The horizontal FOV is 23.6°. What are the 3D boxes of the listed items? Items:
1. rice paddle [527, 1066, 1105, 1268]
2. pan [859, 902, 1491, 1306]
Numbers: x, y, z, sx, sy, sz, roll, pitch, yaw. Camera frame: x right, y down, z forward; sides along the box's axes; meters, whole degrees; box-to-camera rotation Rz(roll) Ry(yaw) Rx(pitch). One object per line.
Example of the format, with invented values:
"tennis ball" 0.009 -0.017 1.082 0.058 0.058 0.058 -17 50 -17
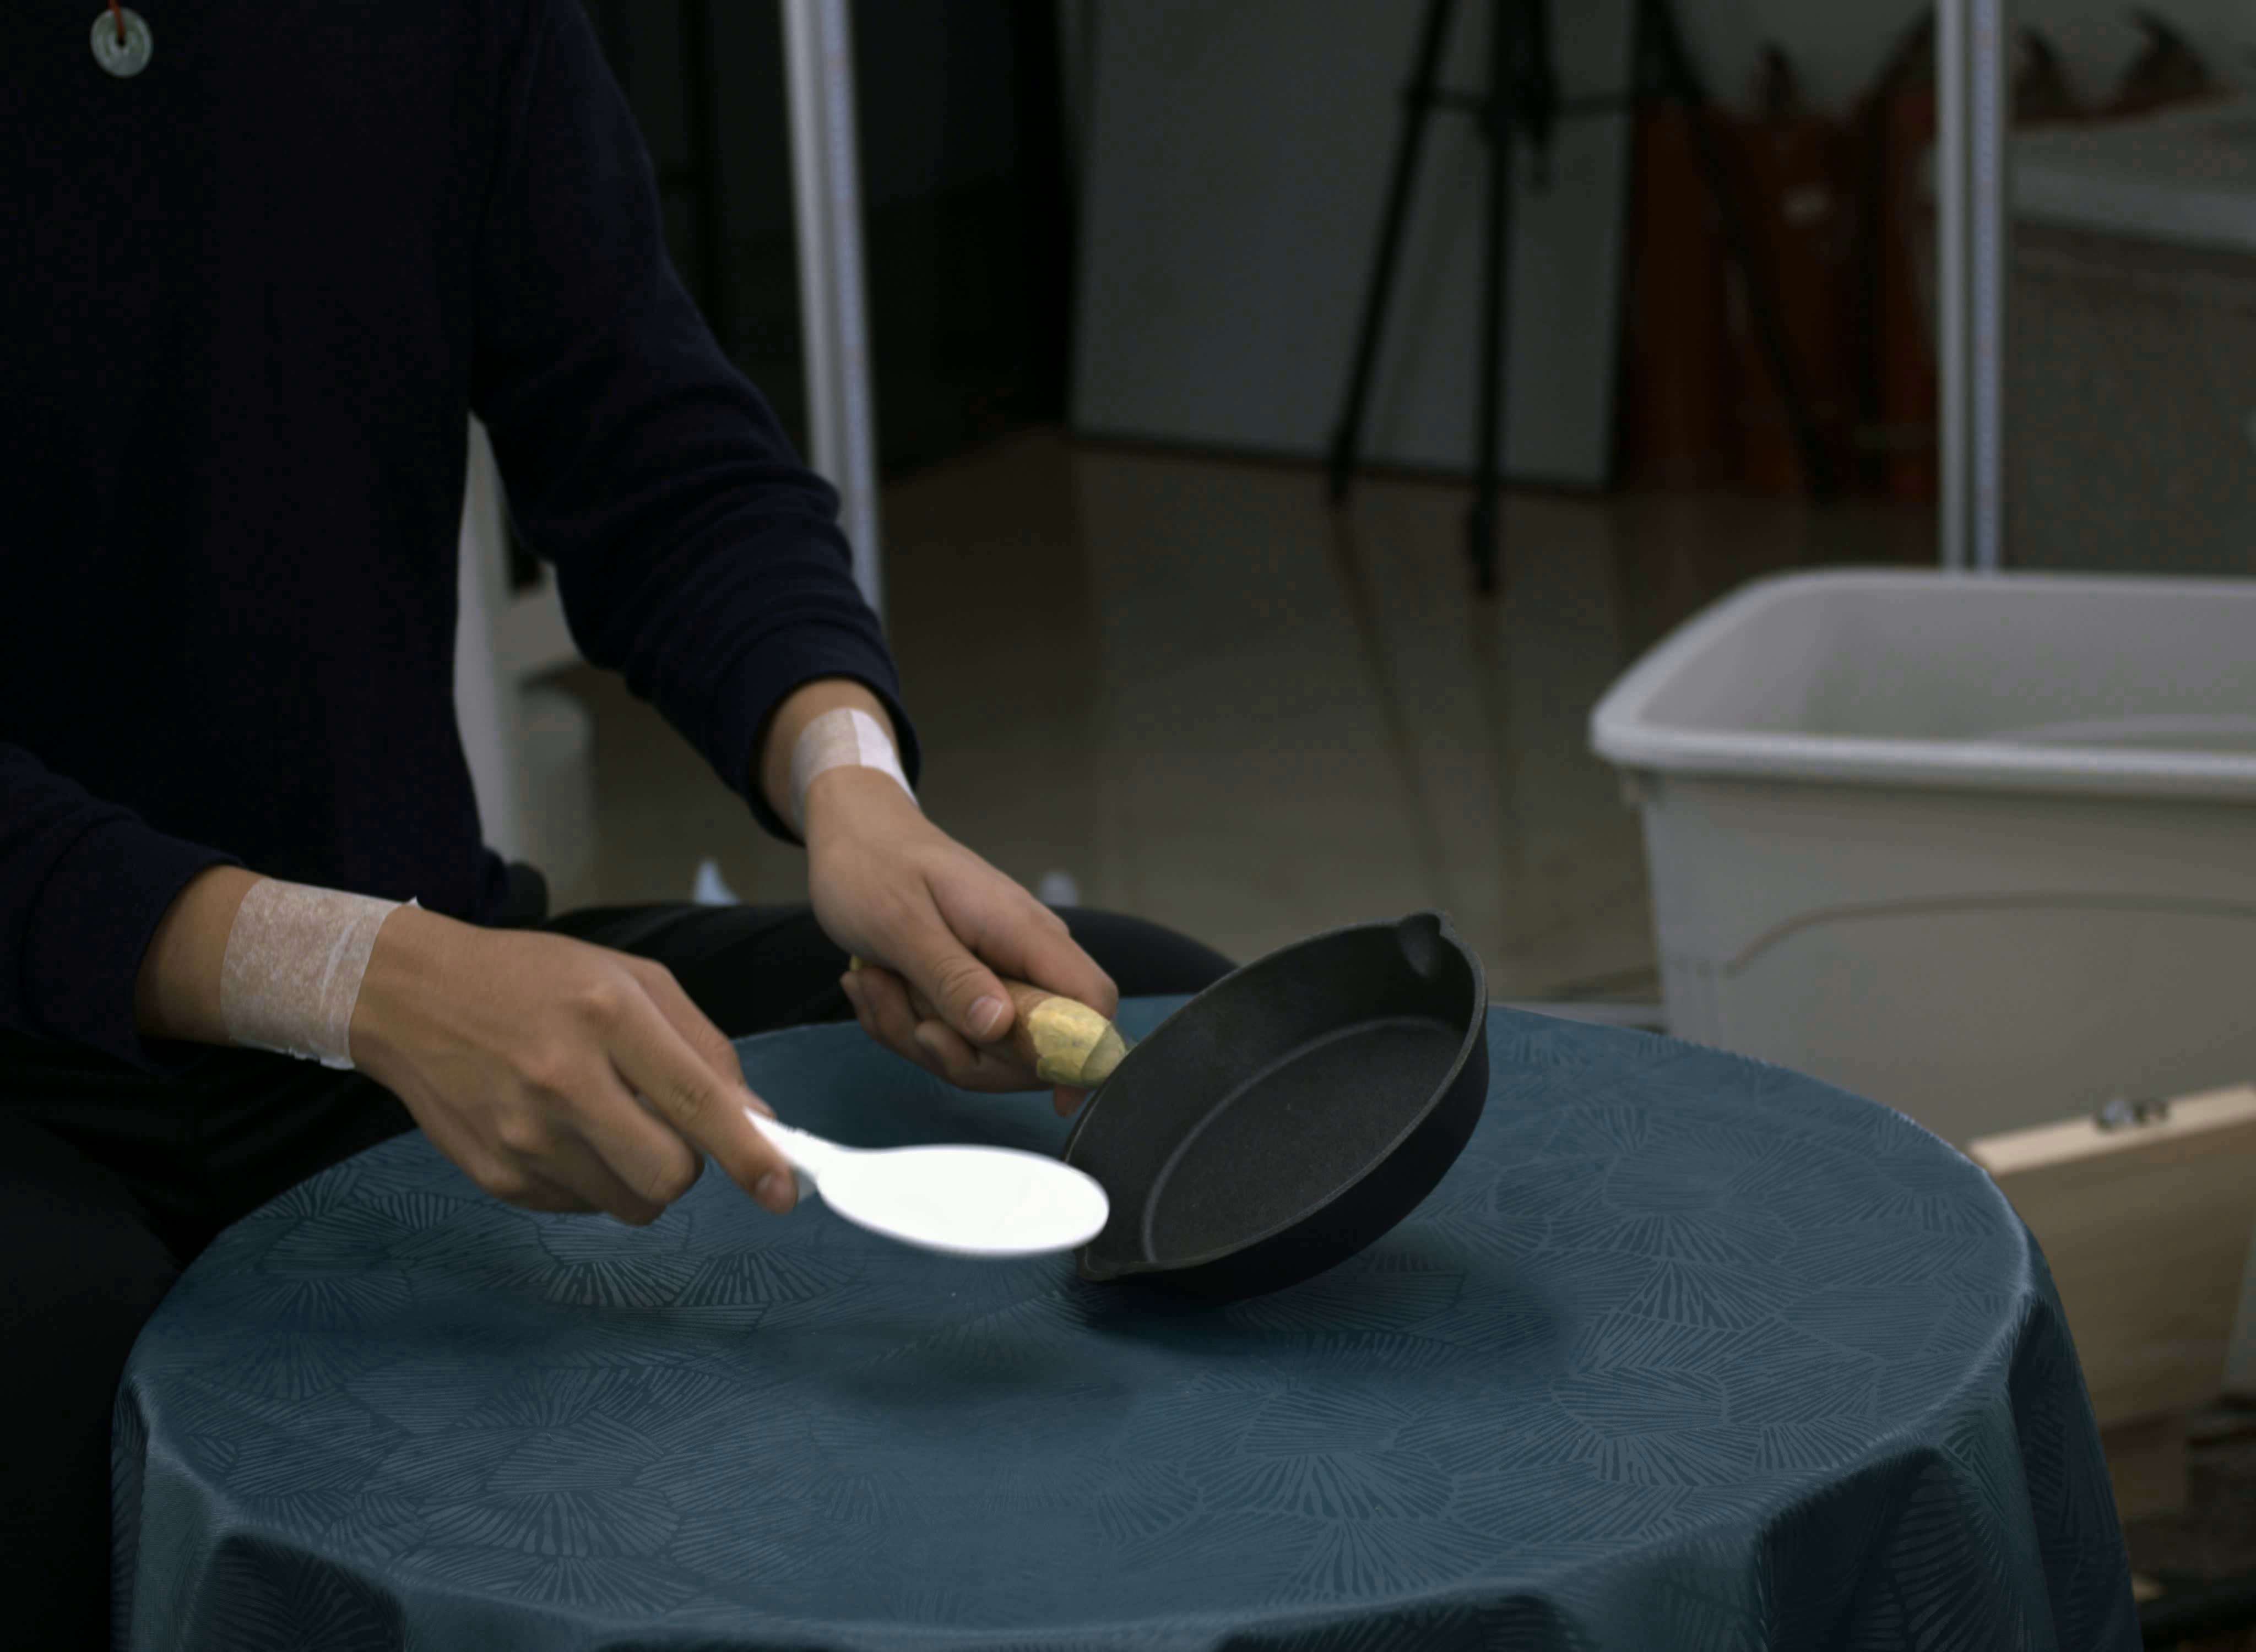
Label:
"rice paddle" -0.095 0.105 1.645 0.206 0.030 0.067 10 24 34
"pan" 0.003 0.077 1.748 0.168 0.049 0.327 -45 28 -18
